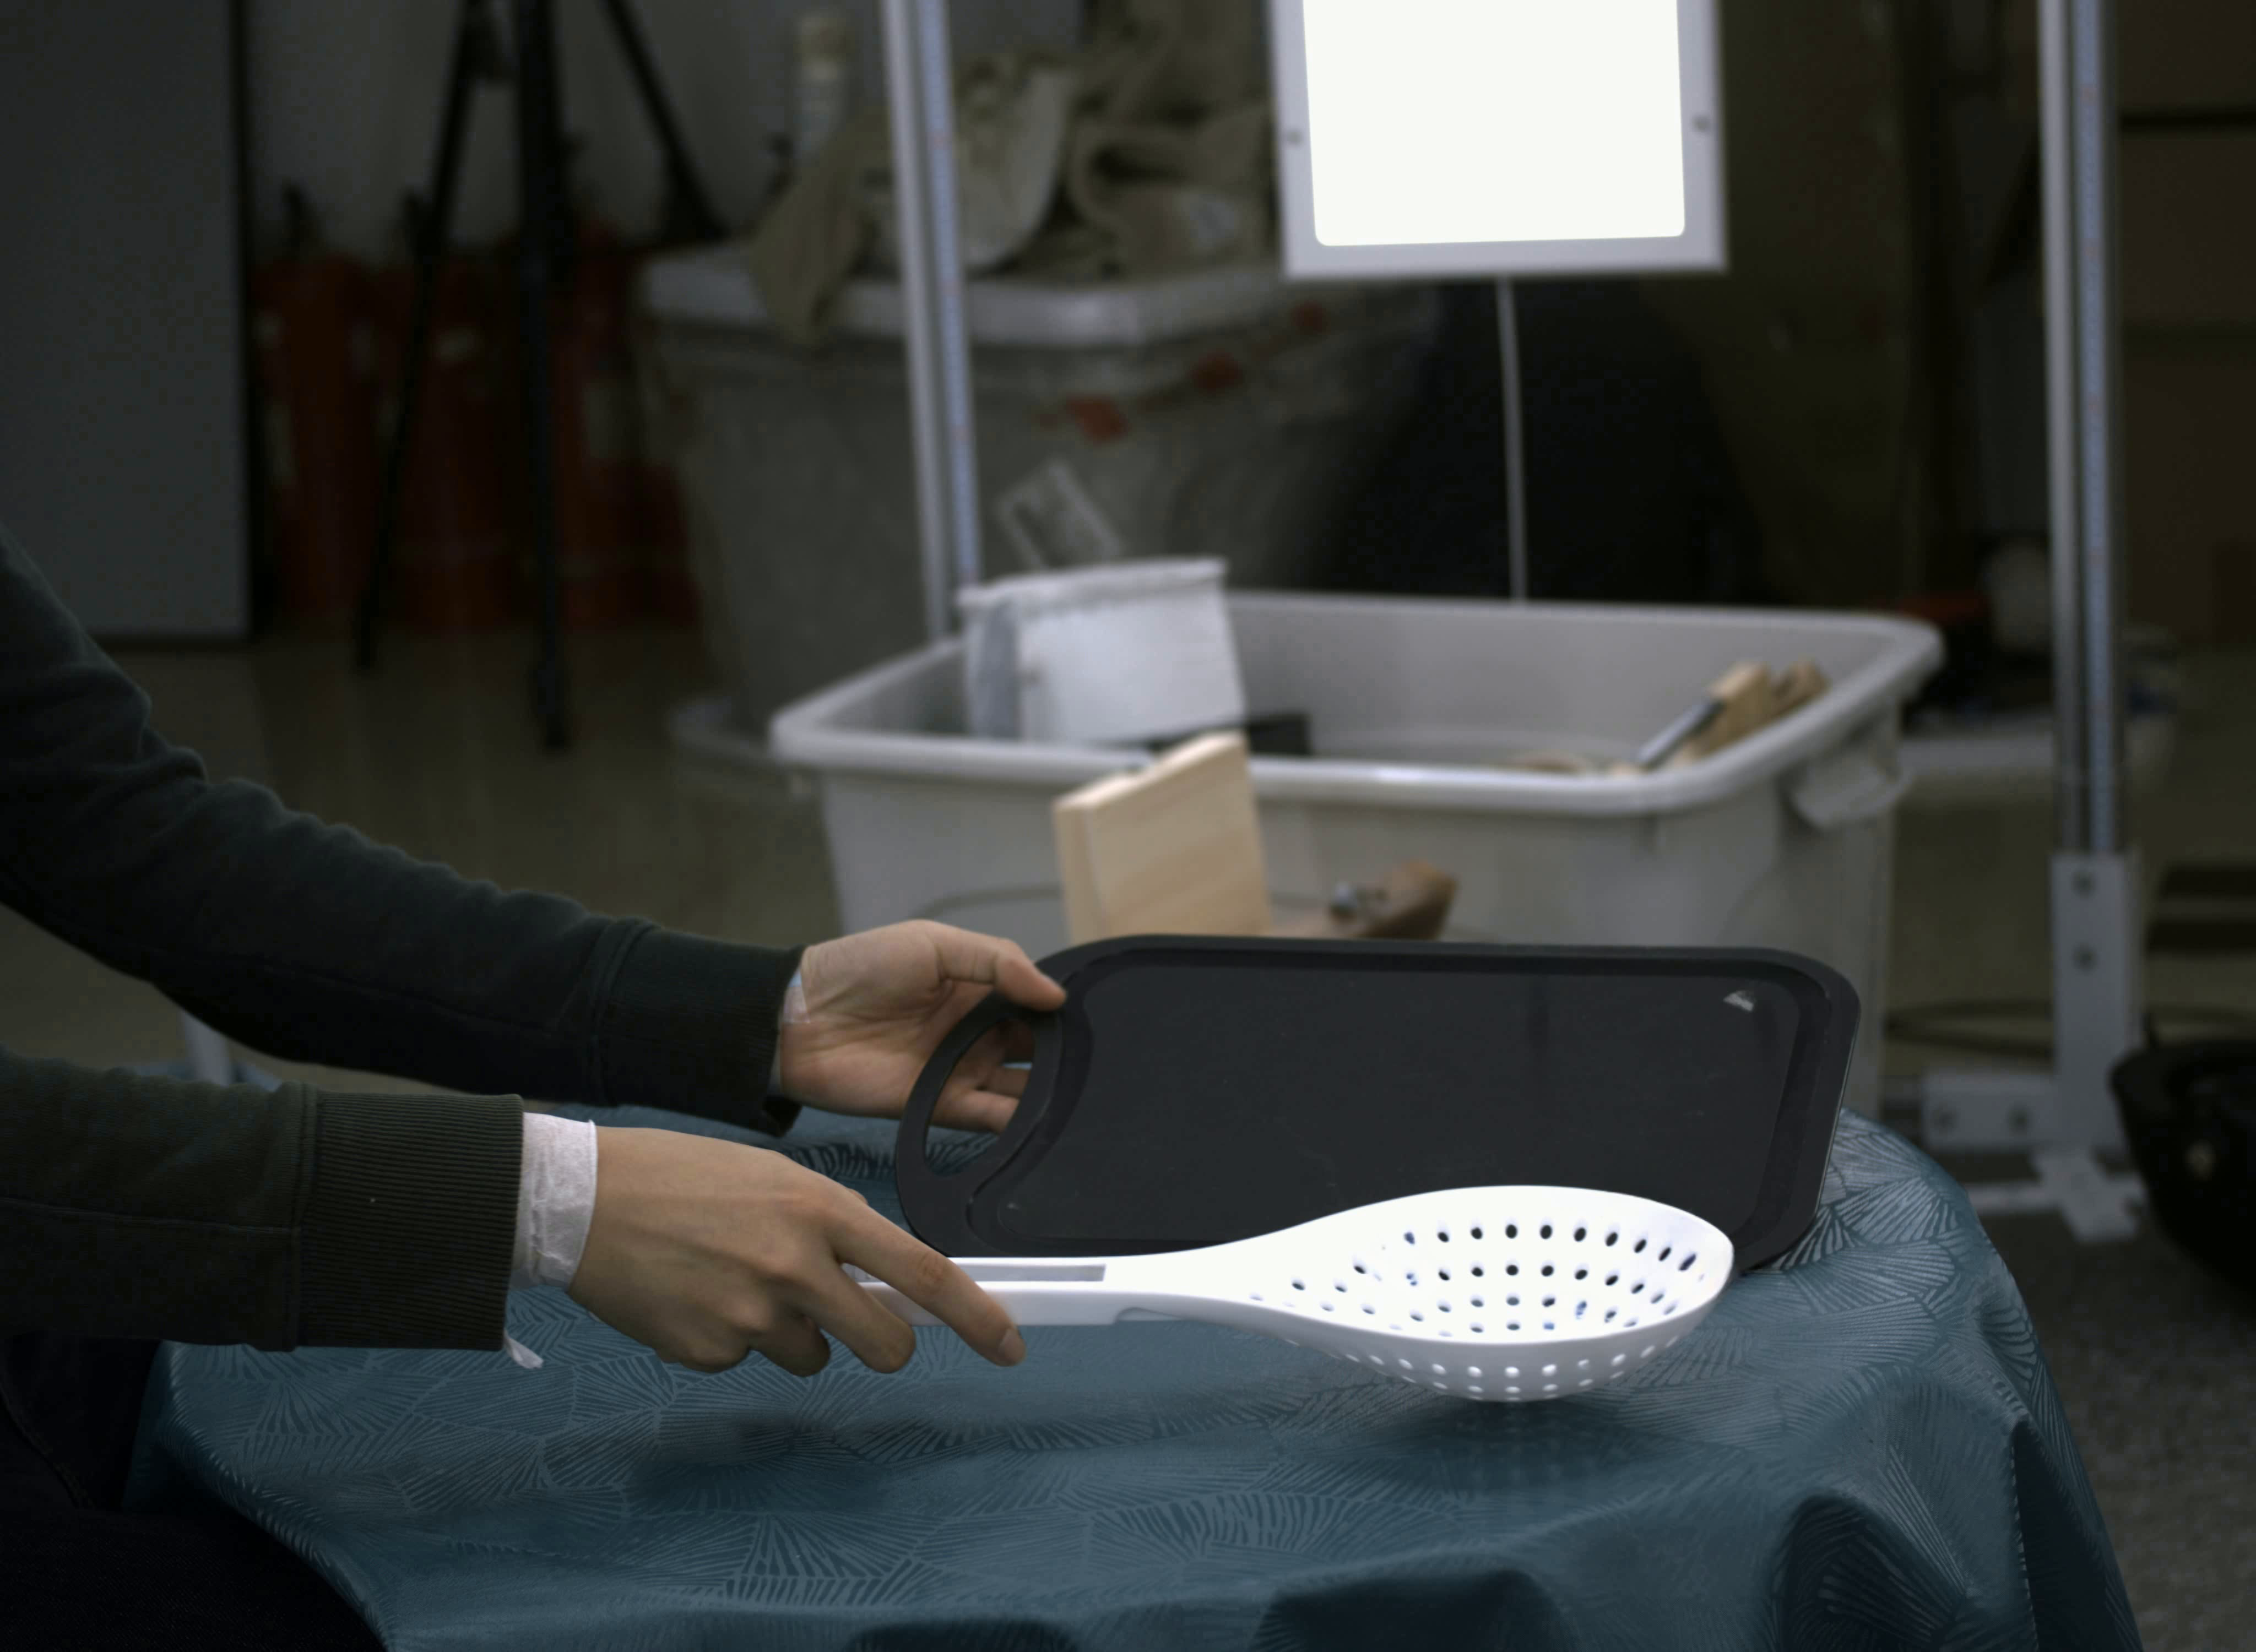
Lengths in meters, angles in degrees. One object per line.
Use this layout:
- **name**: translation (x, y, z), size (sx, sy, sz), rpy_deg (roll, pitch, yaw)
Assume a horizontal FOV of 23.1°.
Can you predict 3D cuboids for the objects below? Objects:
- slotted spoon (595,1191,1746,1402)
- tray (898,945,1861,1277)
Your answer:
- **slotted spoon**: translation (0.011, 0.140, 1.673), size (0.350, 0.046, 0.135), rpy_deg (4, 15, 6)
- **tray**: translation (0.082, 0.094, 1.872), size (0.329, 0.010, 0.208), rpy_deg (0, 30, 17)
